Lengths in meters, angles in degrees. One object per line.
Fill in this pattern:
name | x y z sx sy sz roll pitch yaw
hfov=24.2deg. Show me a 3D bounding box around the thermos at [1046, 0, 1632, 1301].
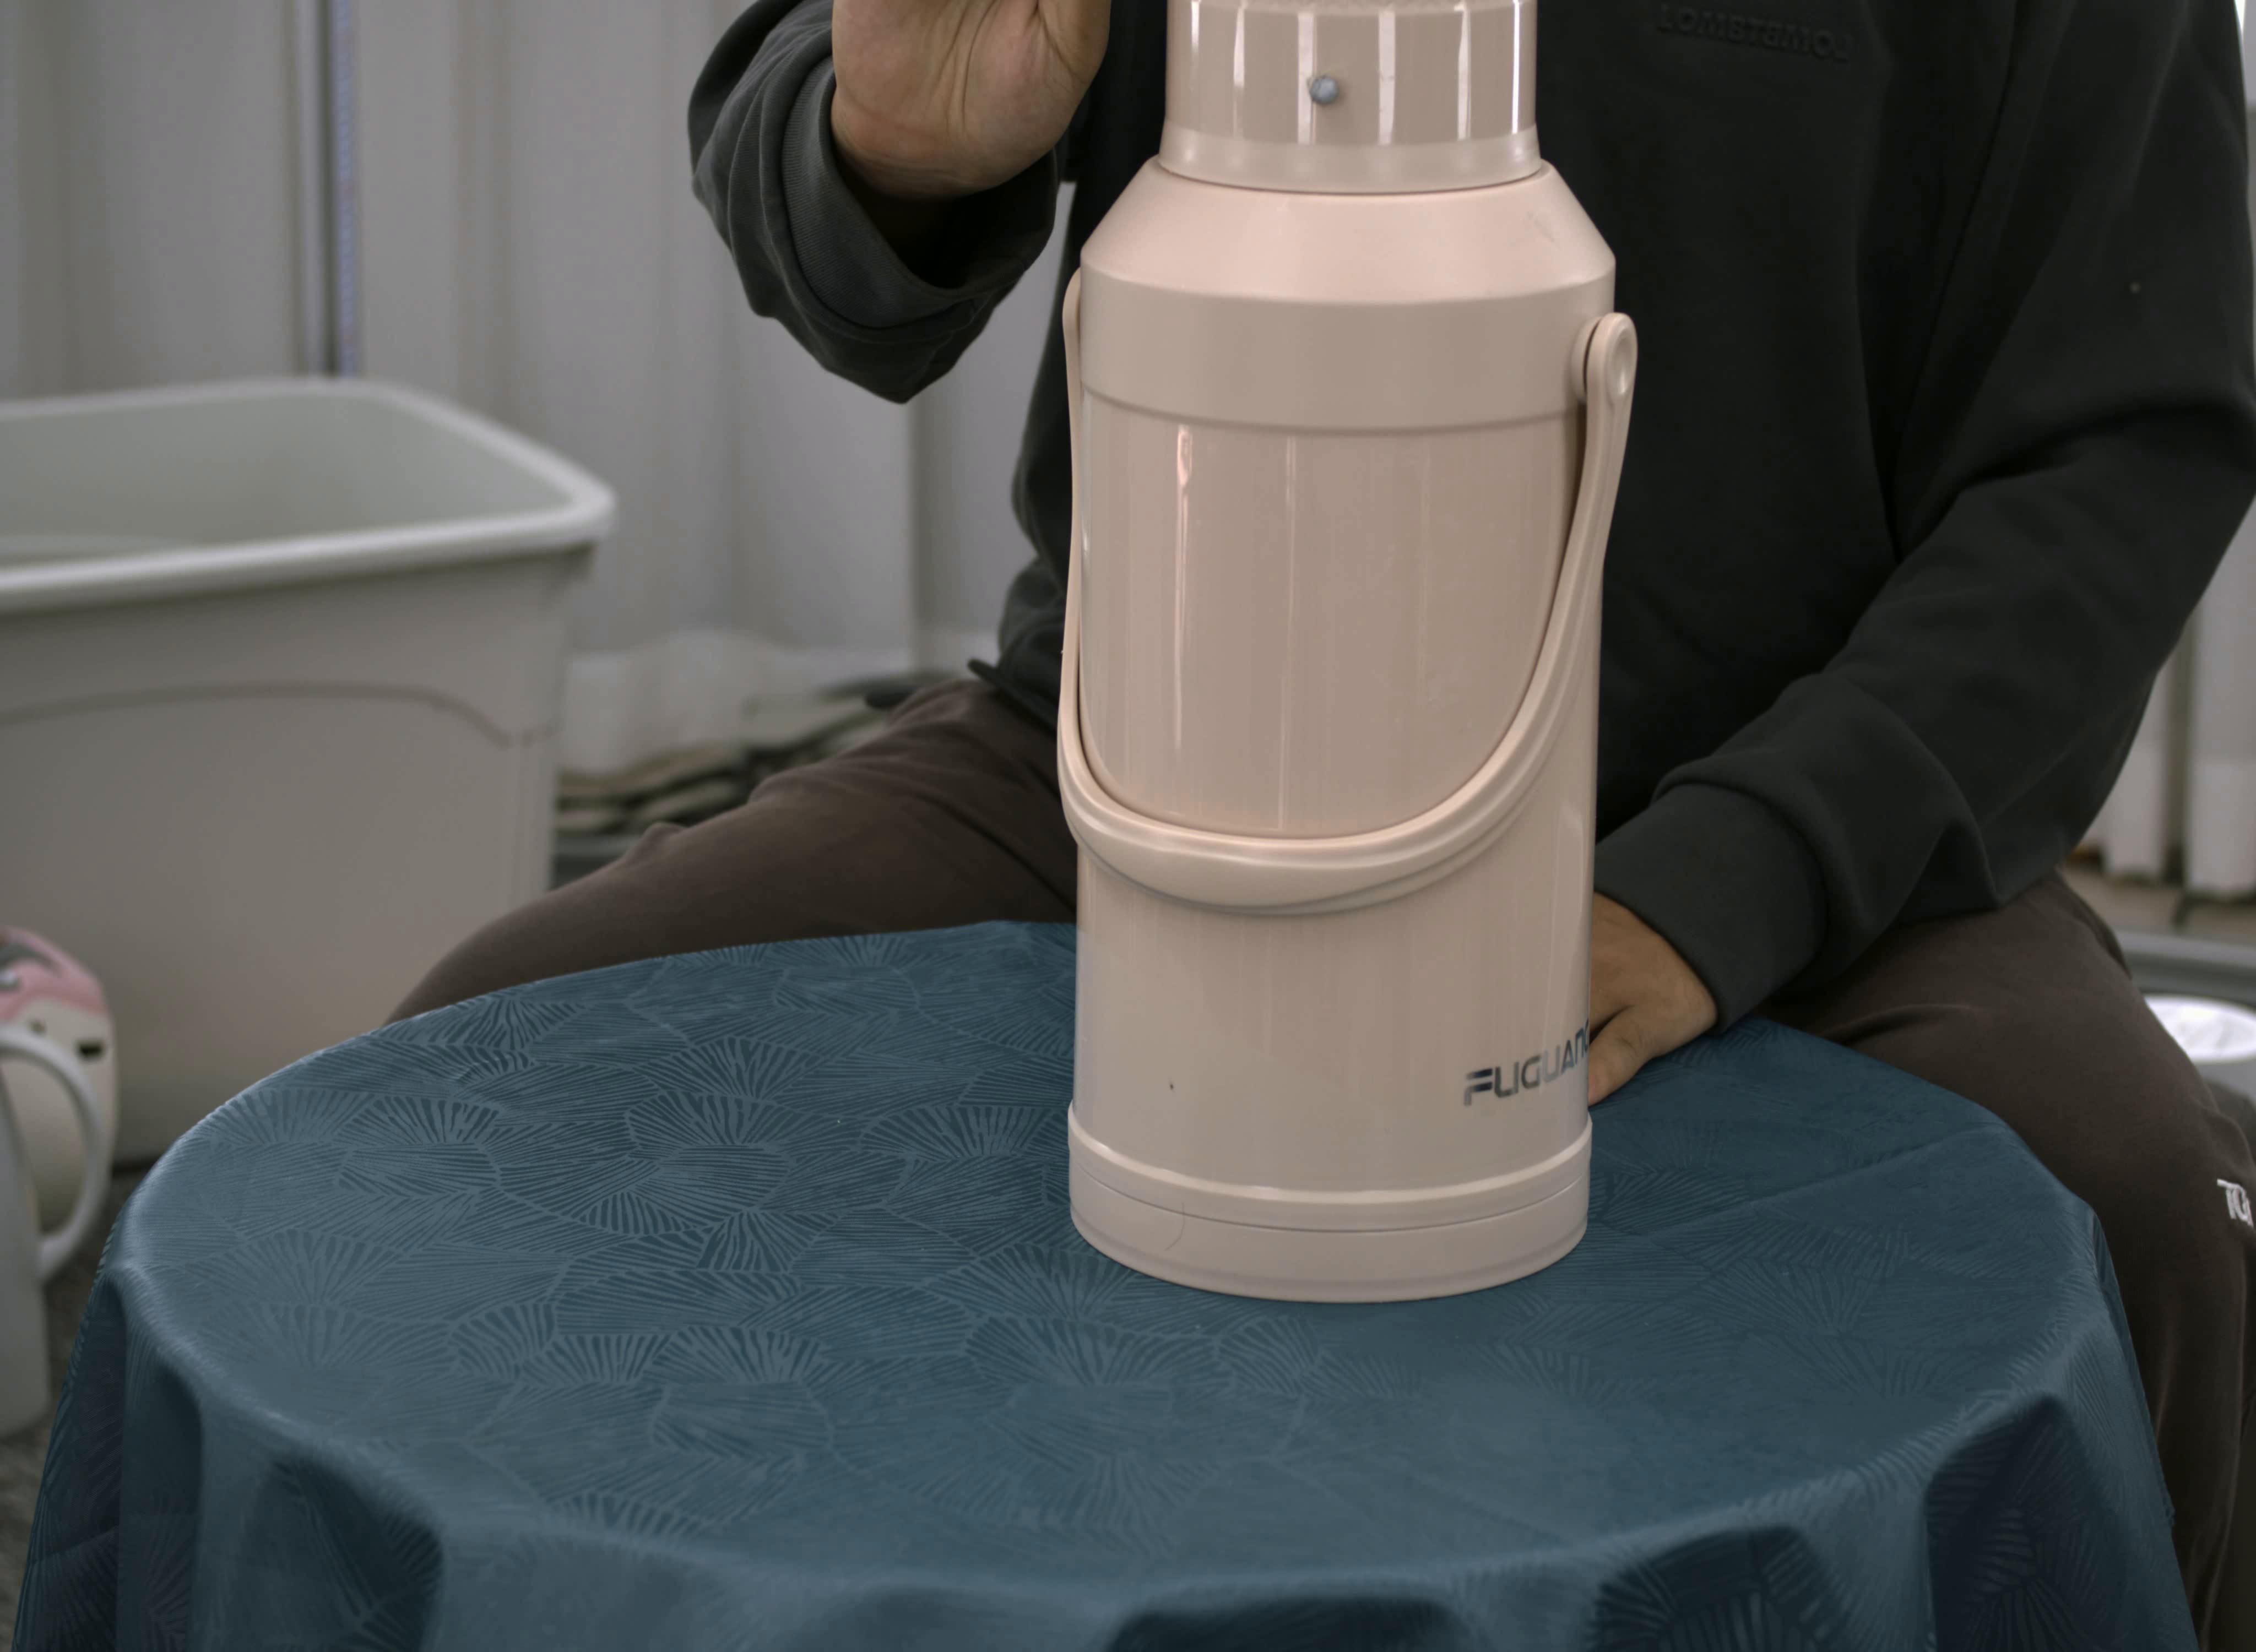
thermos | 0.068 -0.077 1.566 0.173 0.410 0.207 9 18 25
